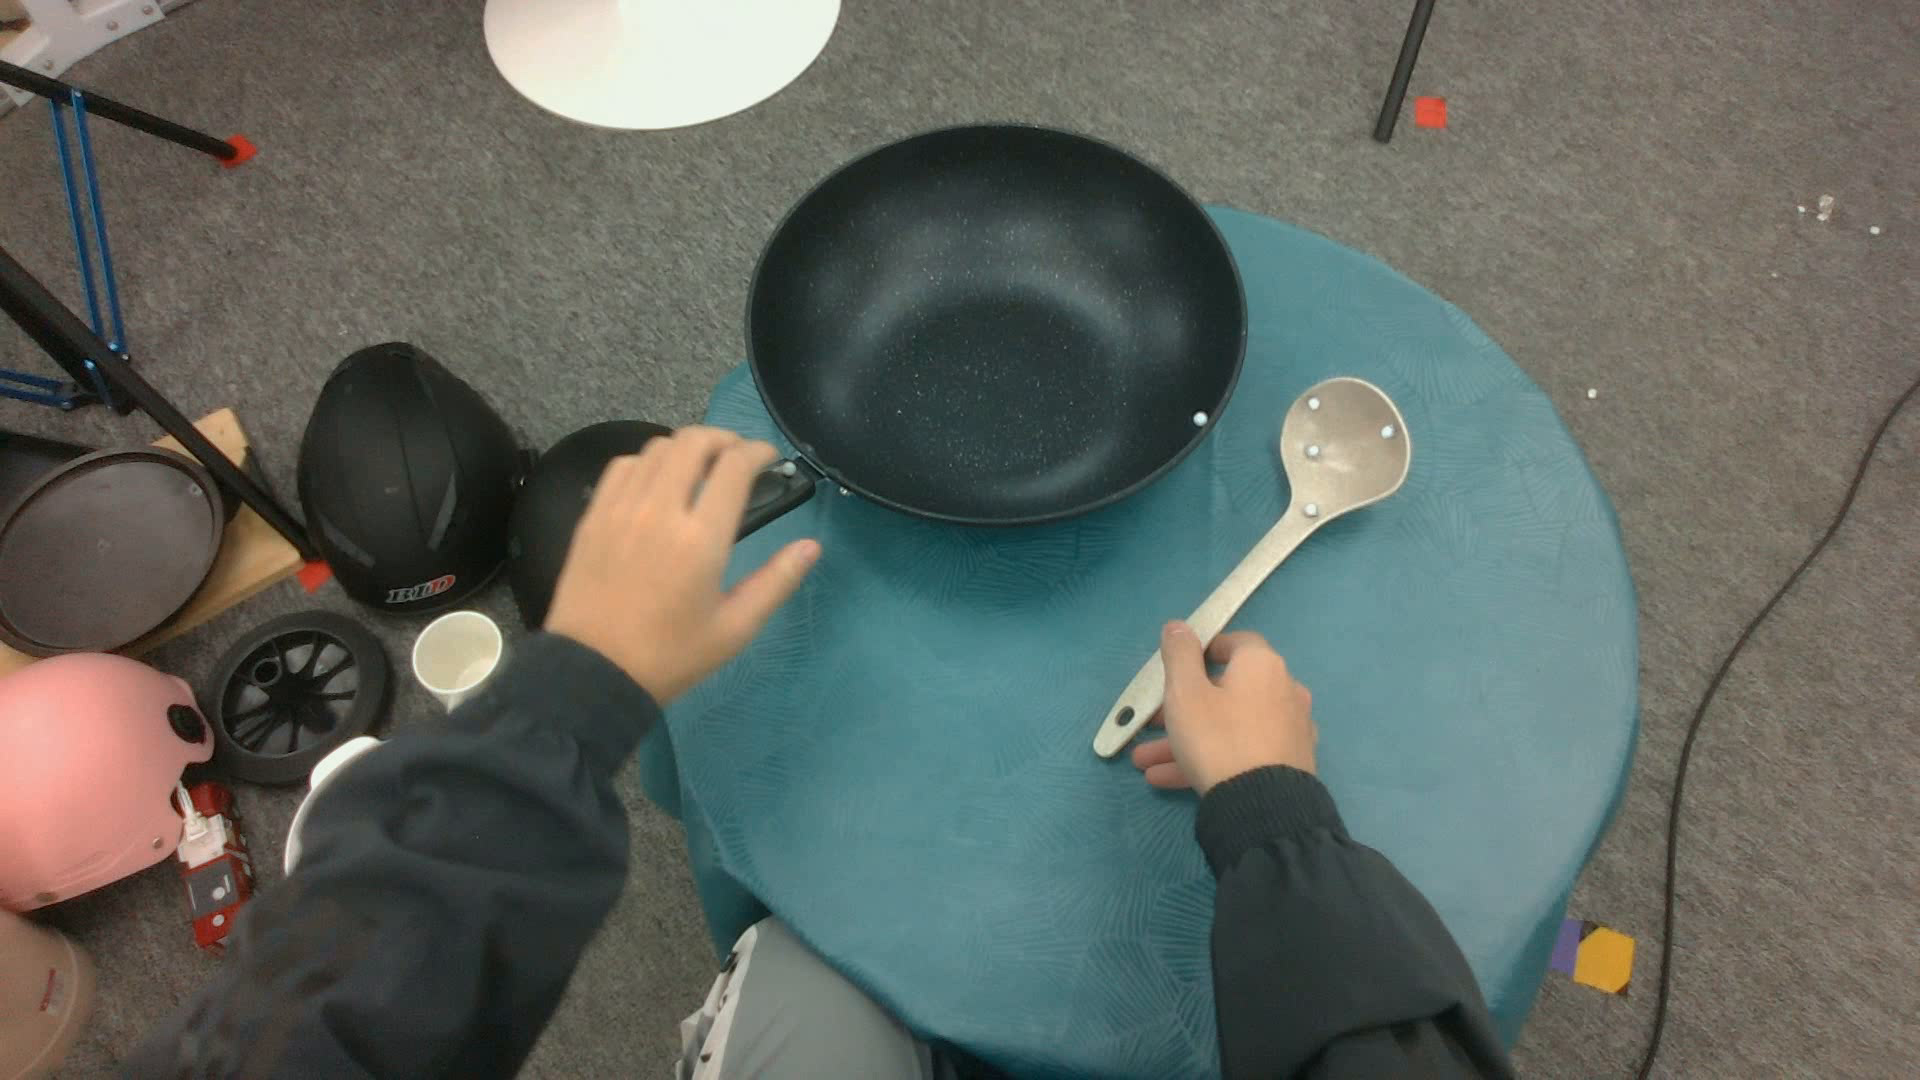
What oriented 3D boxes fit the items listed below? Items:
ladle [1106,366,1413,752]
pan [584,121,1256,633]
[{"bbox_3d":[0.169,0.008,0.822,0.089,0.069,0.275,30,67,38],"label":"ladle"},{"bbox_3d":[-0.028,-0.083,0.859,0.310,0.111,0.478,39,69,22],"label":"pan"}]
